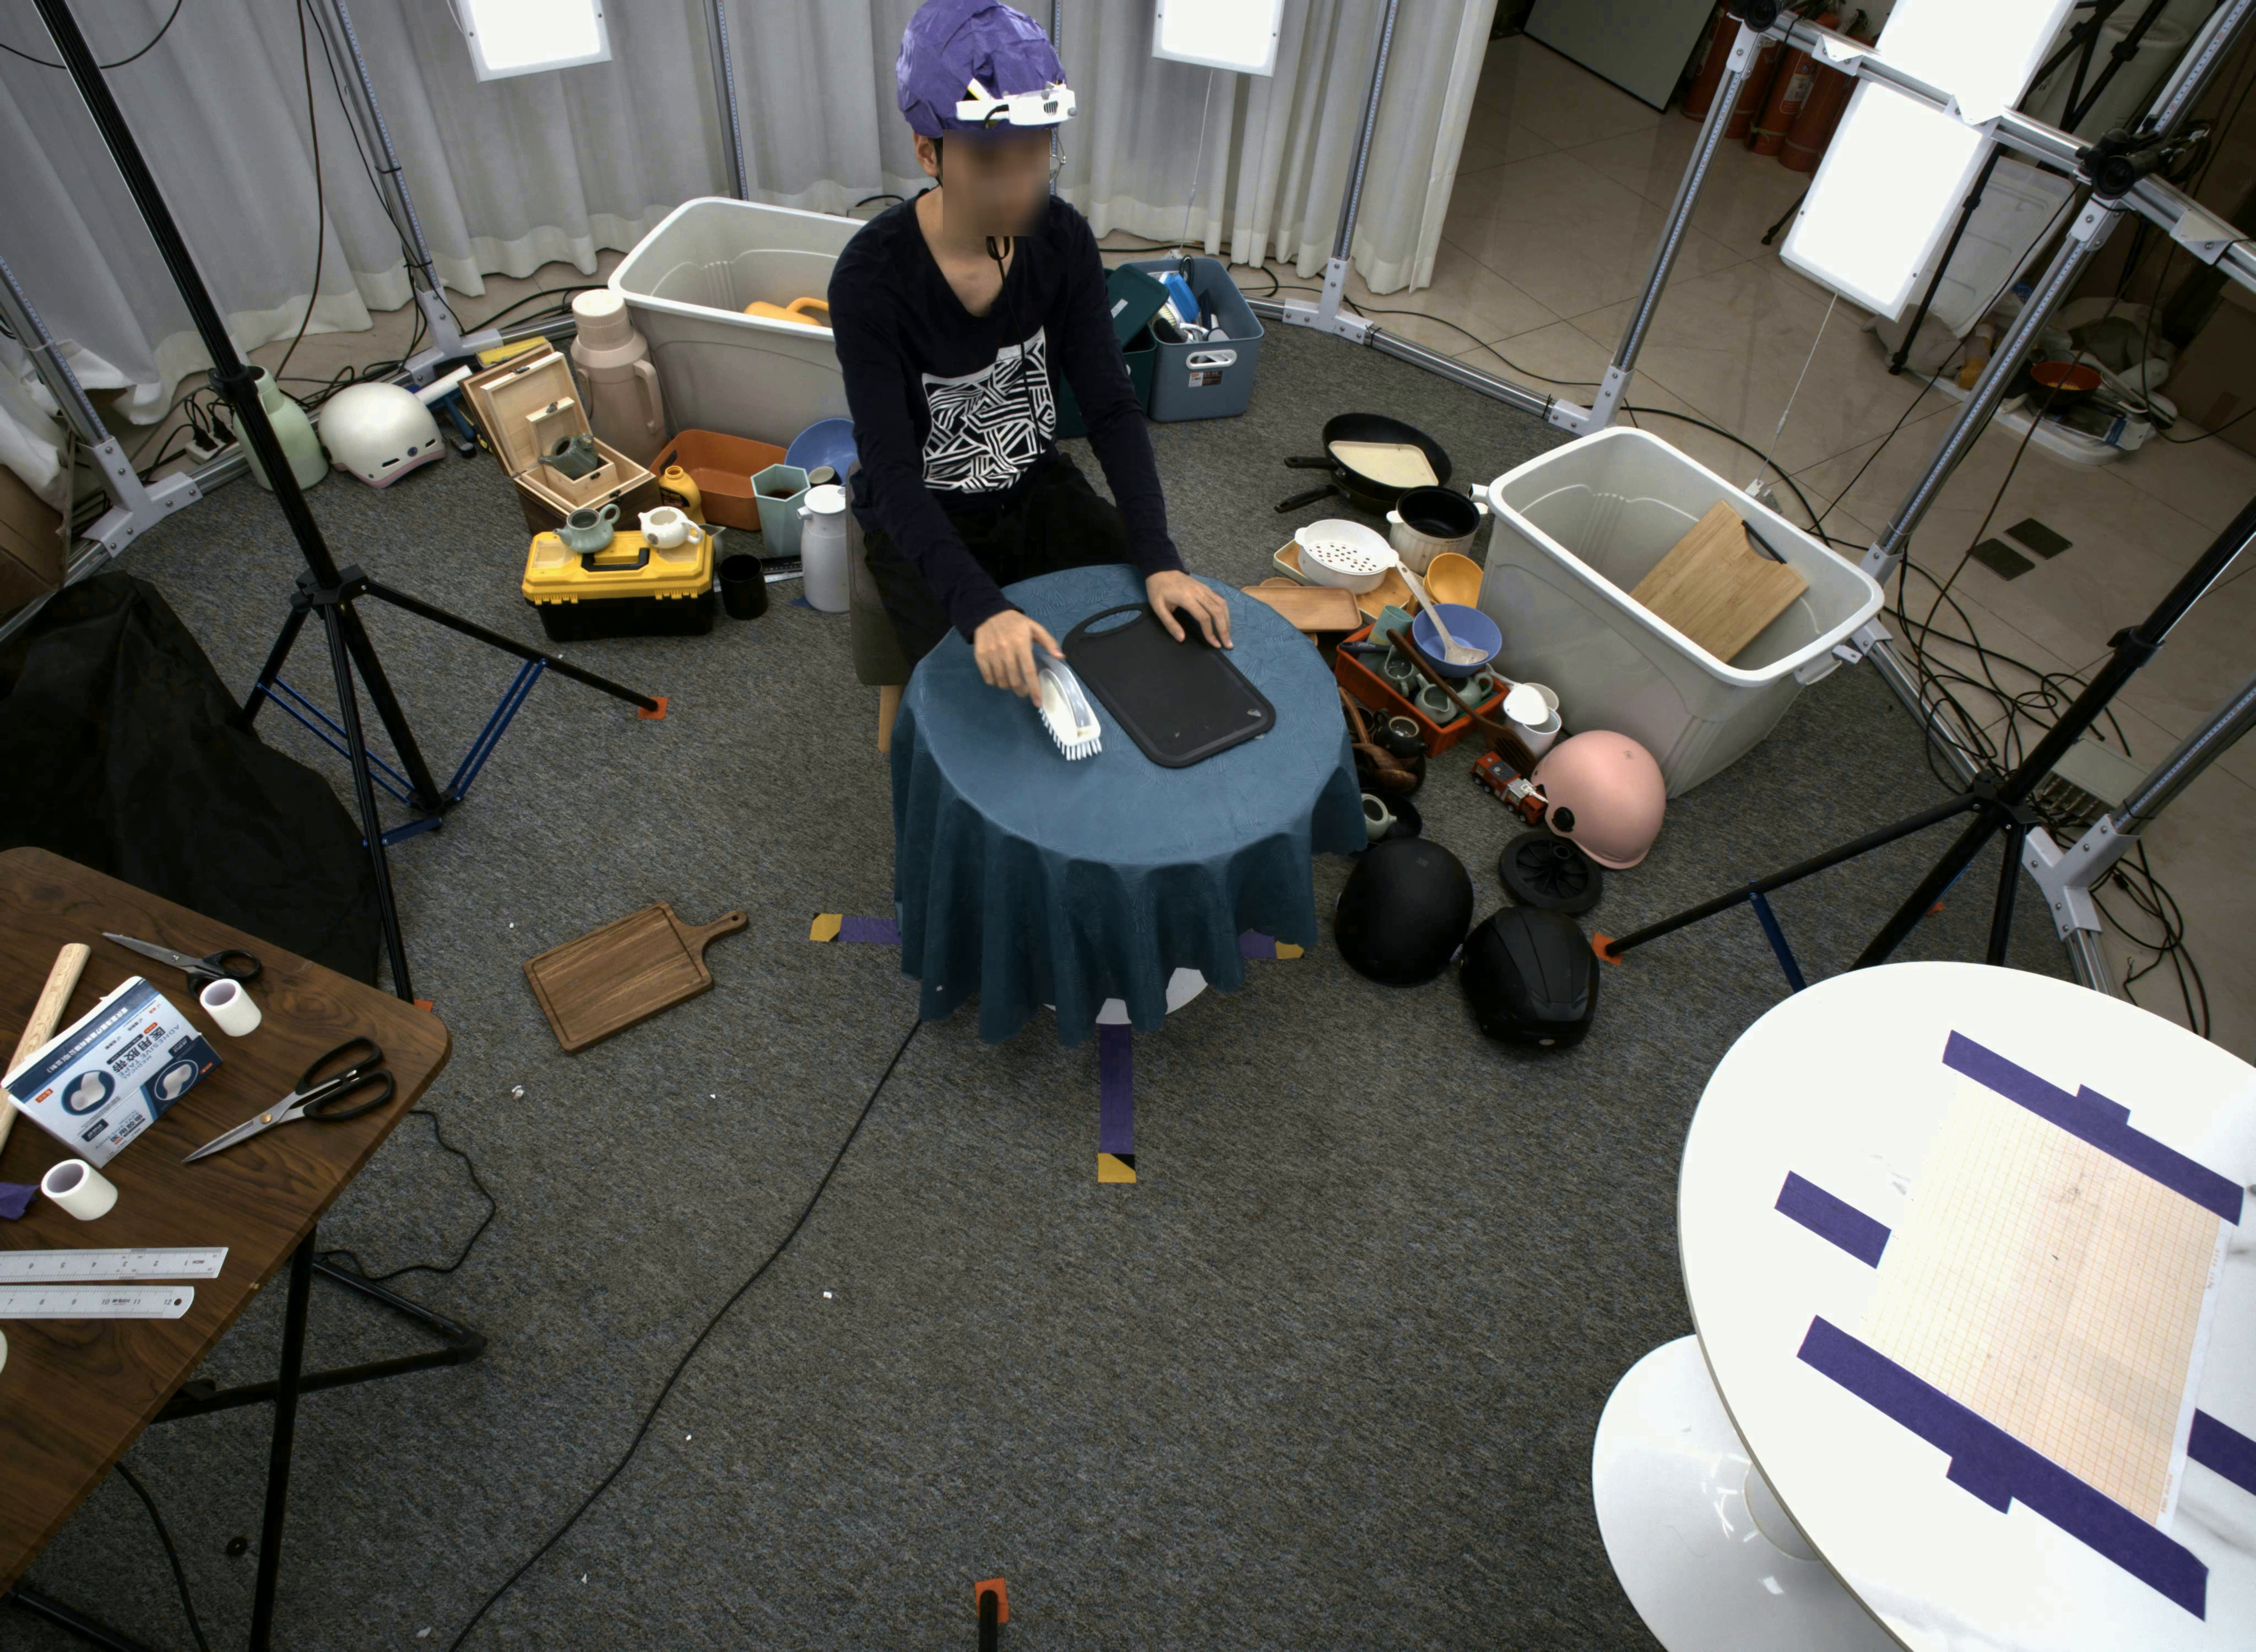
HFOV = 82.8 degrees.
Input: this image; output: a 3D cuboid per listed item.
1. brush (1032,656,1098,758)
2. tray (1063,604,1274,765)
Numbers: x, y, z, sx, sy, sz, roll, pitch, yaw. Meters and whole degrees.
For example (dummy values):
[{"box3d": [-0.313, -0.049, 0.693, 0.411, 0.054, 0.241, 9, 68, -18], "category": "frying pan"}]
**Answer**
[{"box3d": [-0.094, -0.181, 1.759, 0.061, 0.092, 0.179, -14, 49, -20], "category": "brush"}, {"box3d": [0.051, -0.216, 1.853, 0.212, 0.009, 0.332, -22, 53, -21], "category": "tray"}]
